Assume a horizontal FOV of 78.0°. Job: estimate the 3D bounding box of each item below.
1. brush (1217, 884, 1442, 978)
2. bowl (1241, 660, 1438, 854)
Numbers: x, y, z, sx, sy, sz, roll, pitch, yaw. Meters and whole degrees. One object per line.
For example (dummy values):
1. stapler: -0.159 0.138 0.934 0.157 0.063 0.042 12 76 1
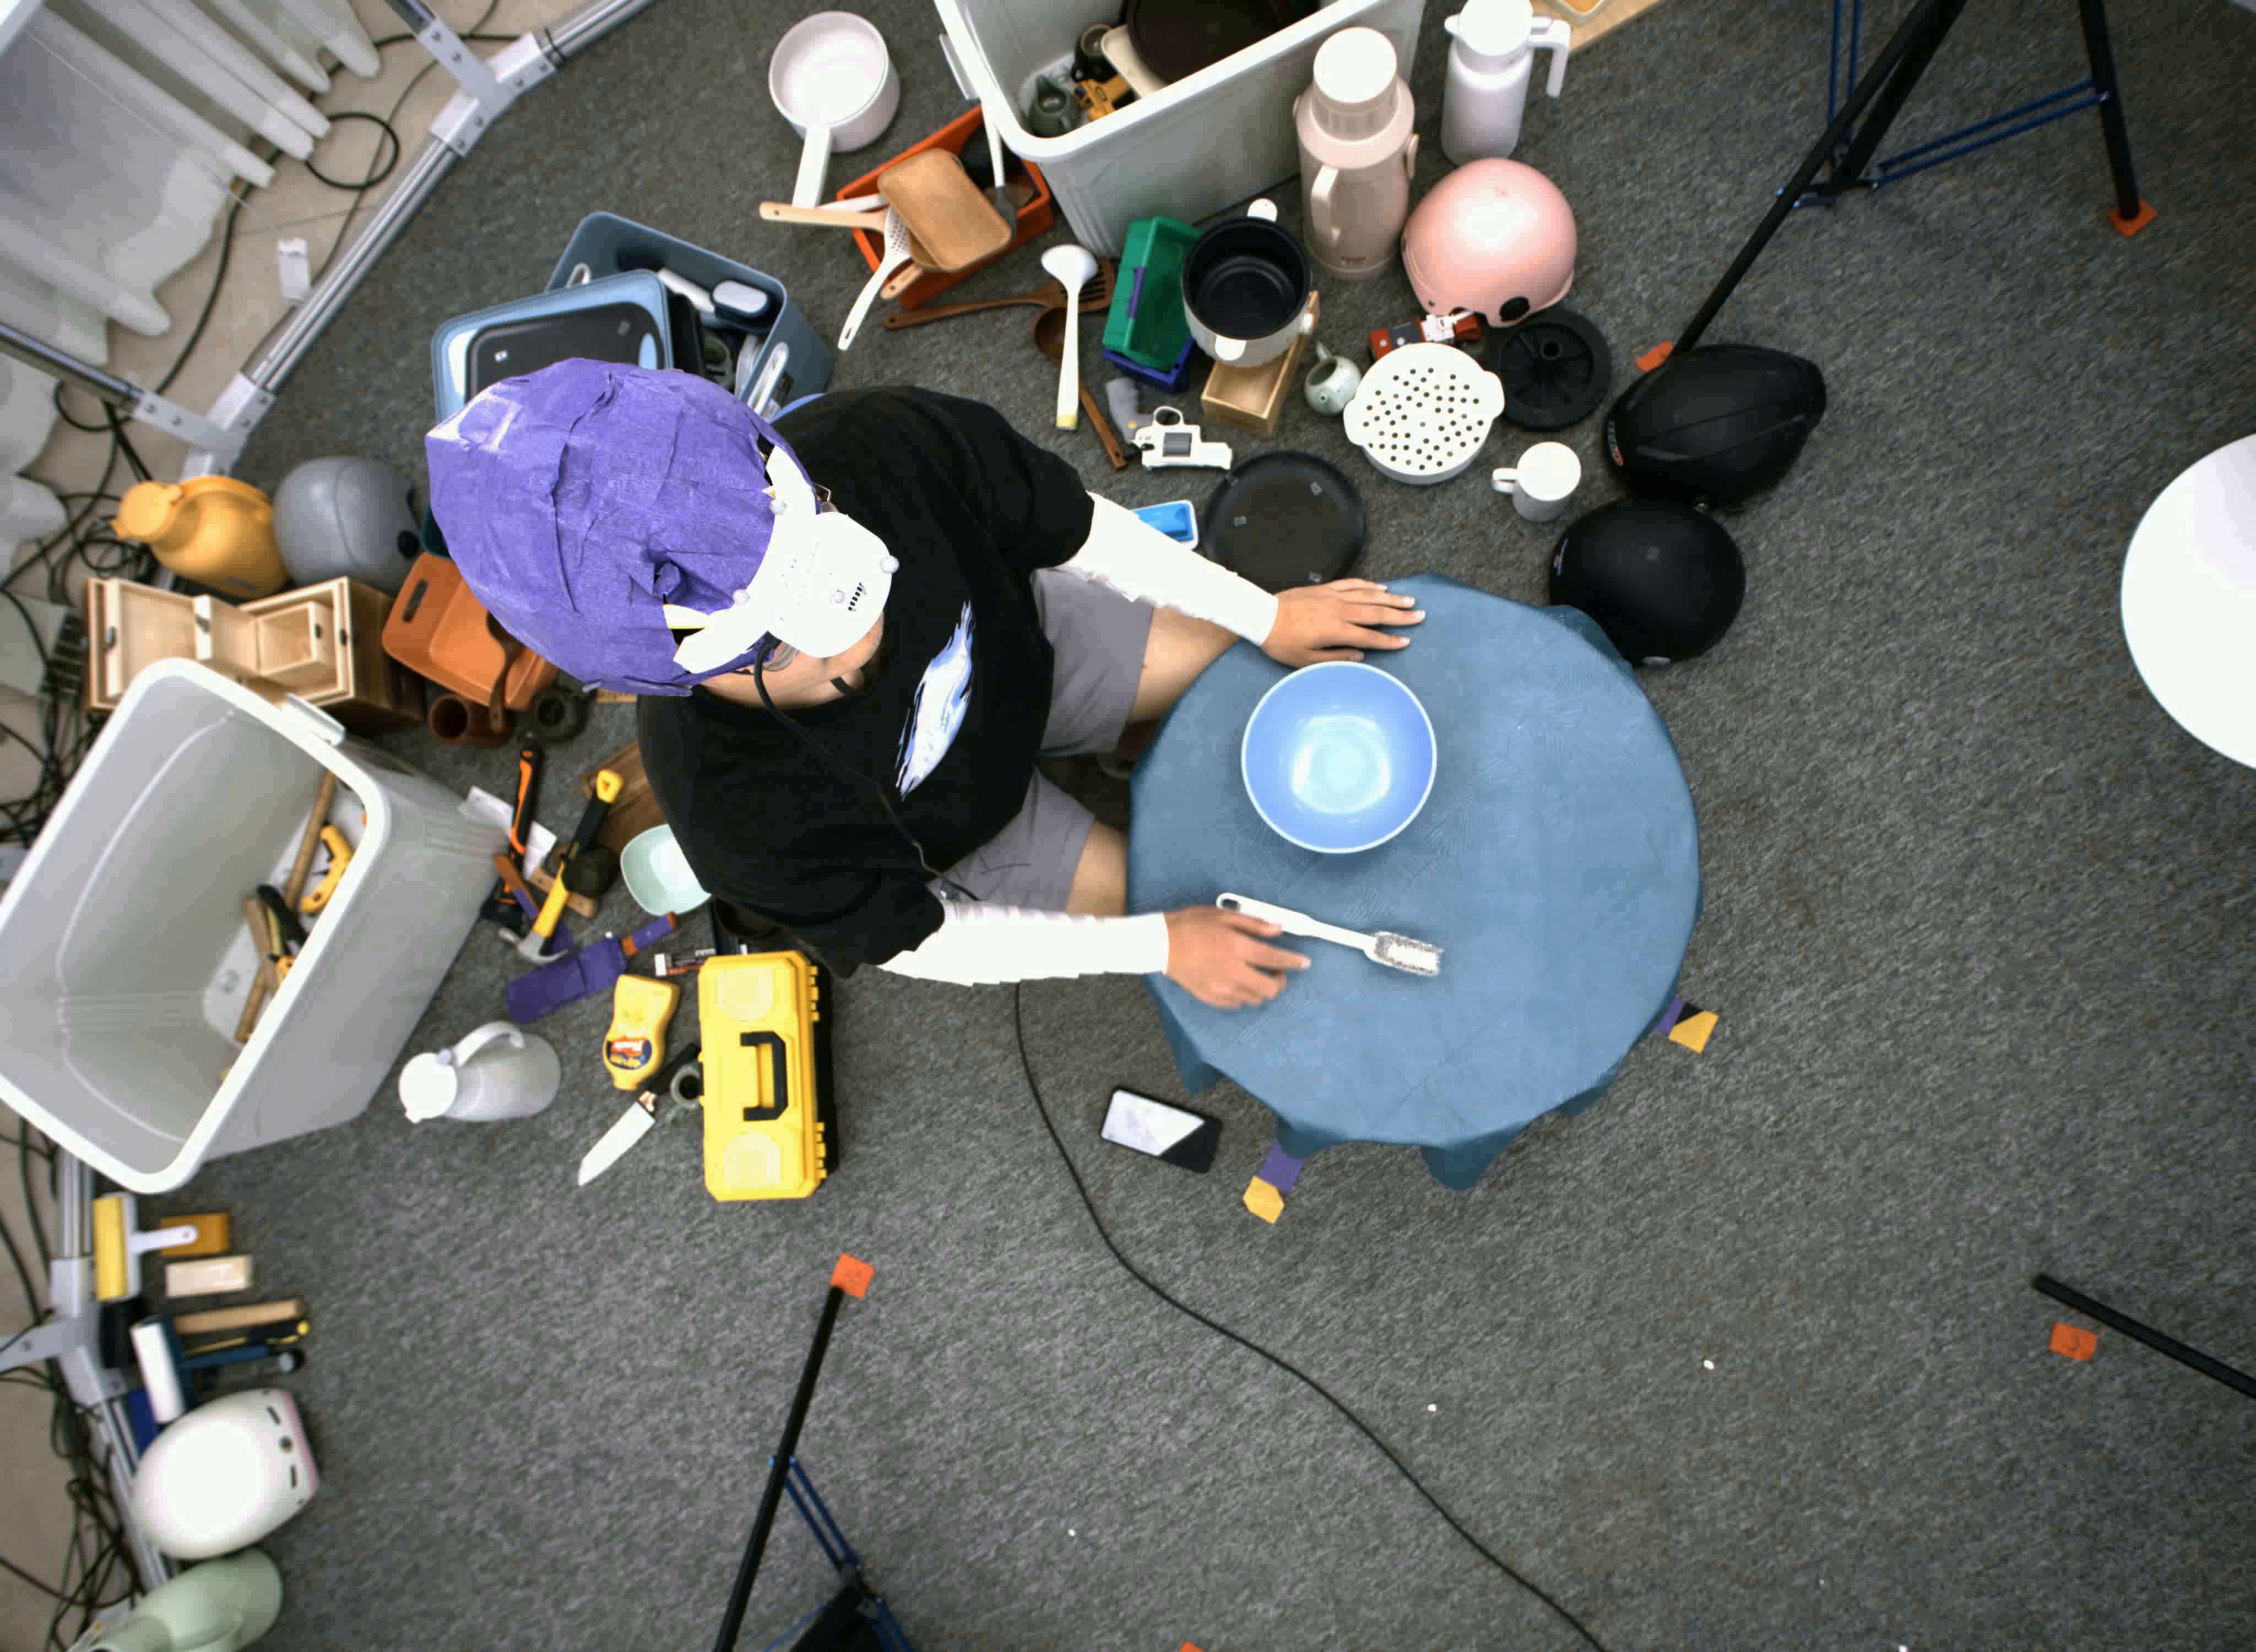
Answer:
1. brush: 0.206 0.105 1.444 0.244 0.050 0.034 18 91 11
2. bowl: 0.218 -0.067 1.426 0.197 0.095 0.196 -1 88 10
